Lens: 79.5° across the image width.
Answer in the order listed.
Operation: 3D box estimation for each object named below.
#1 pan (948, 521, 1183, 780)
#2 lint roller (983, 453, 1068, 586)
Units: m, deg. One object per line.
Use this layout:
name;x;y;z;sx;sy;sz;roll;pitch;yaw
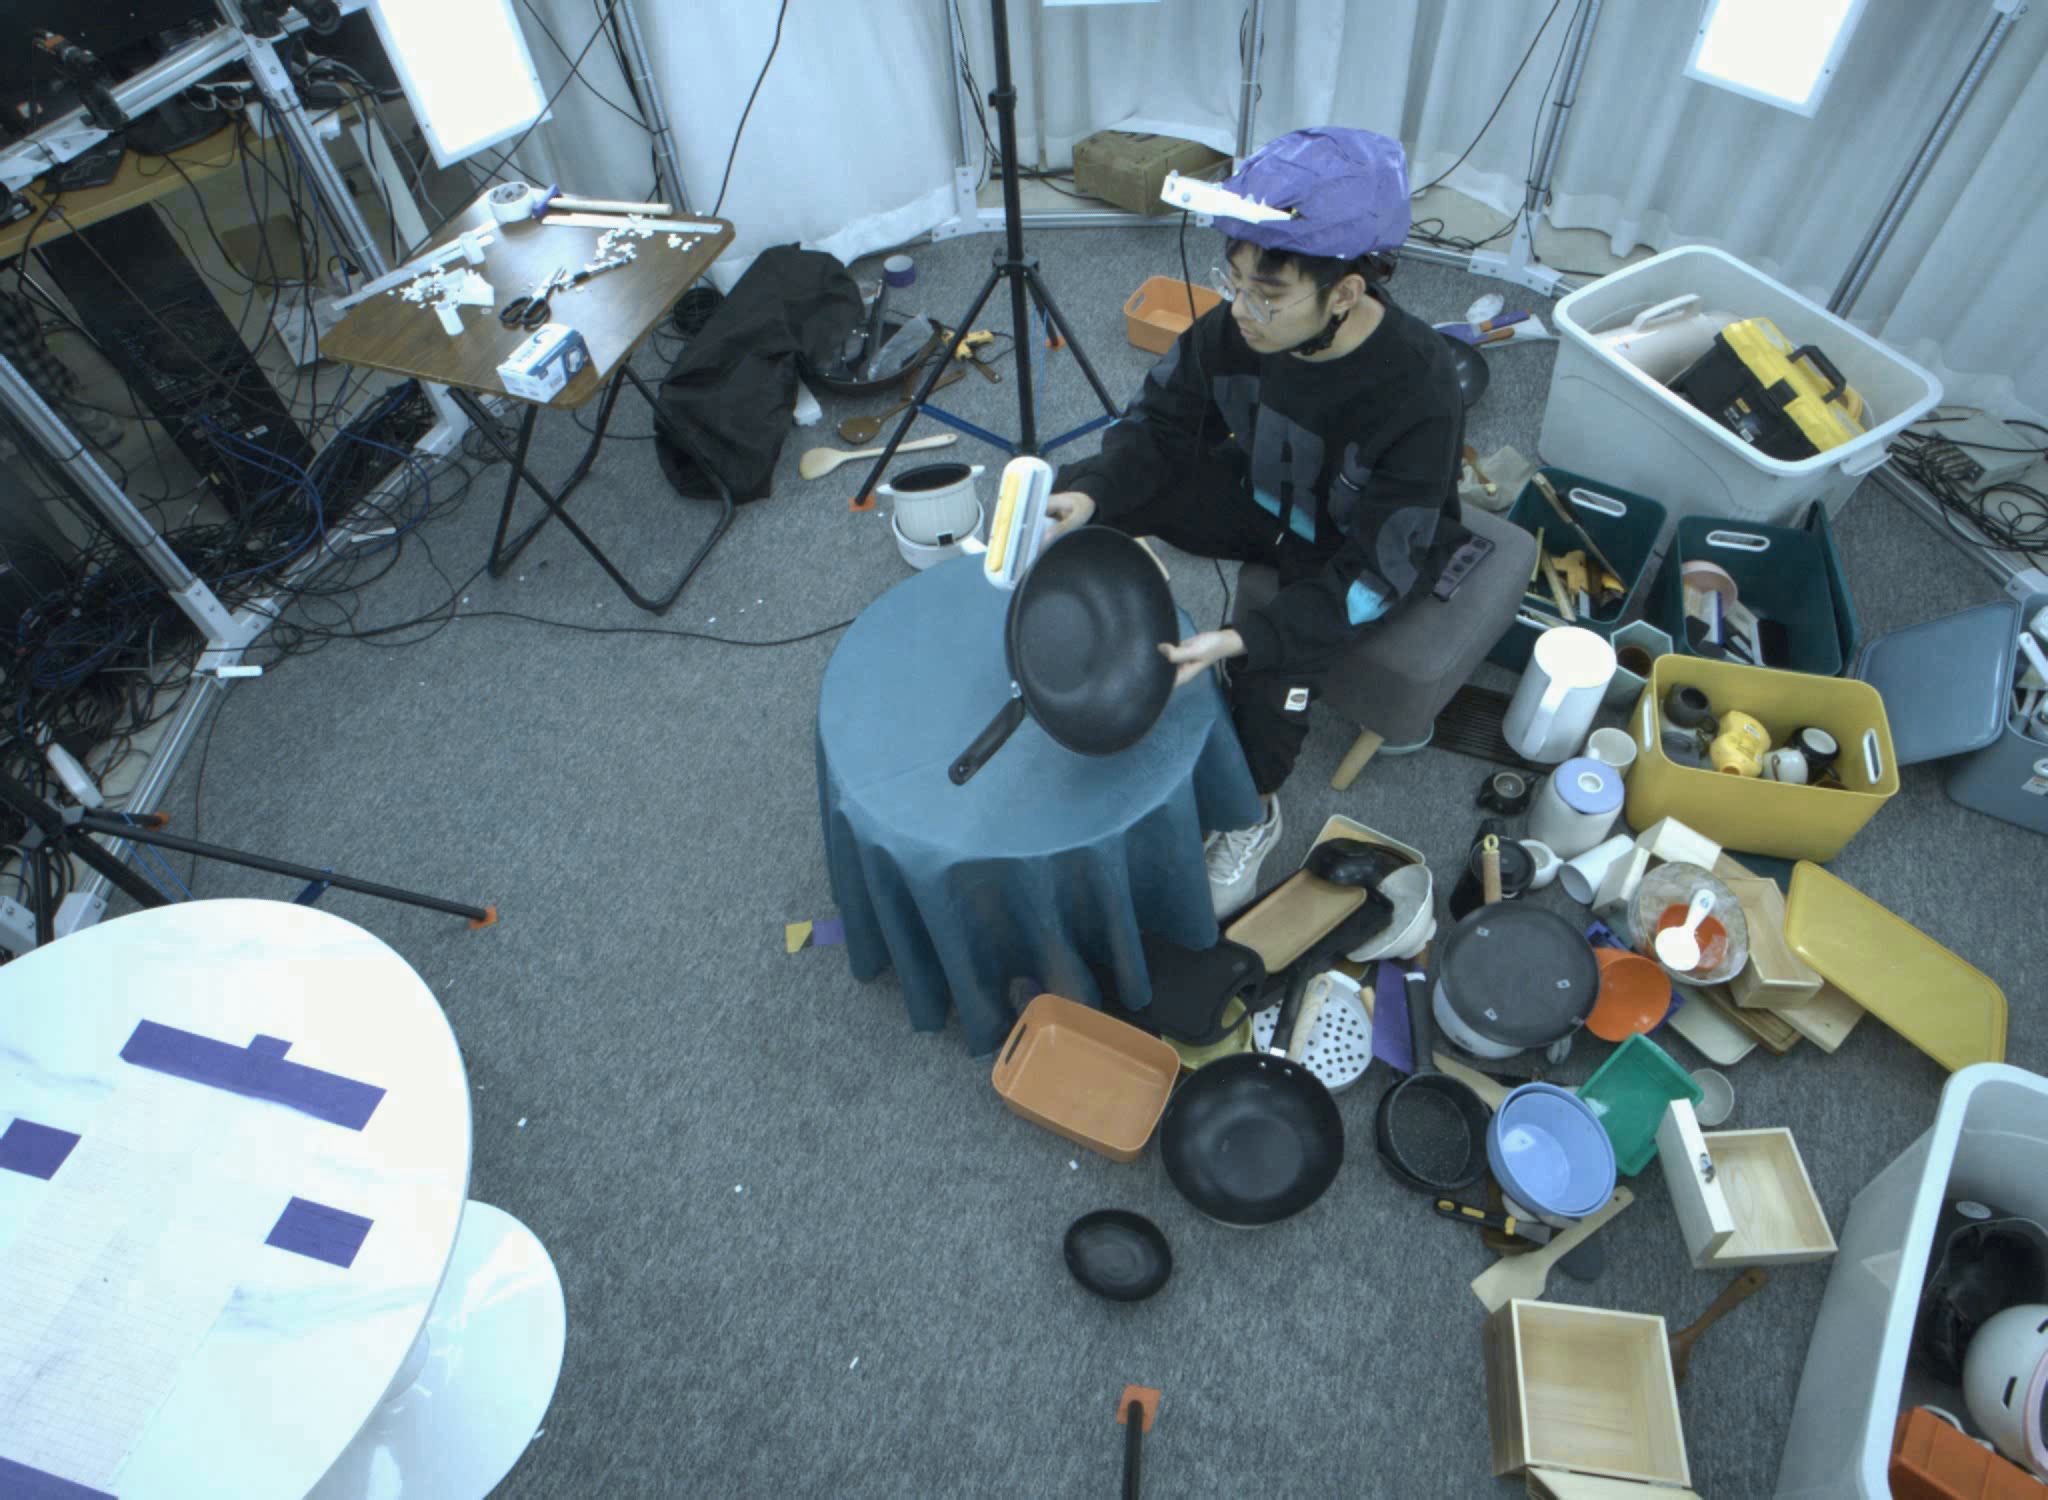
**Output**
pan;0.035;-0.104;1.618;0.109;0.314;0.481;1;35;49
lint roller;0.019;-0.331;1.809;0.072;0.196;0.193;14;97;36
